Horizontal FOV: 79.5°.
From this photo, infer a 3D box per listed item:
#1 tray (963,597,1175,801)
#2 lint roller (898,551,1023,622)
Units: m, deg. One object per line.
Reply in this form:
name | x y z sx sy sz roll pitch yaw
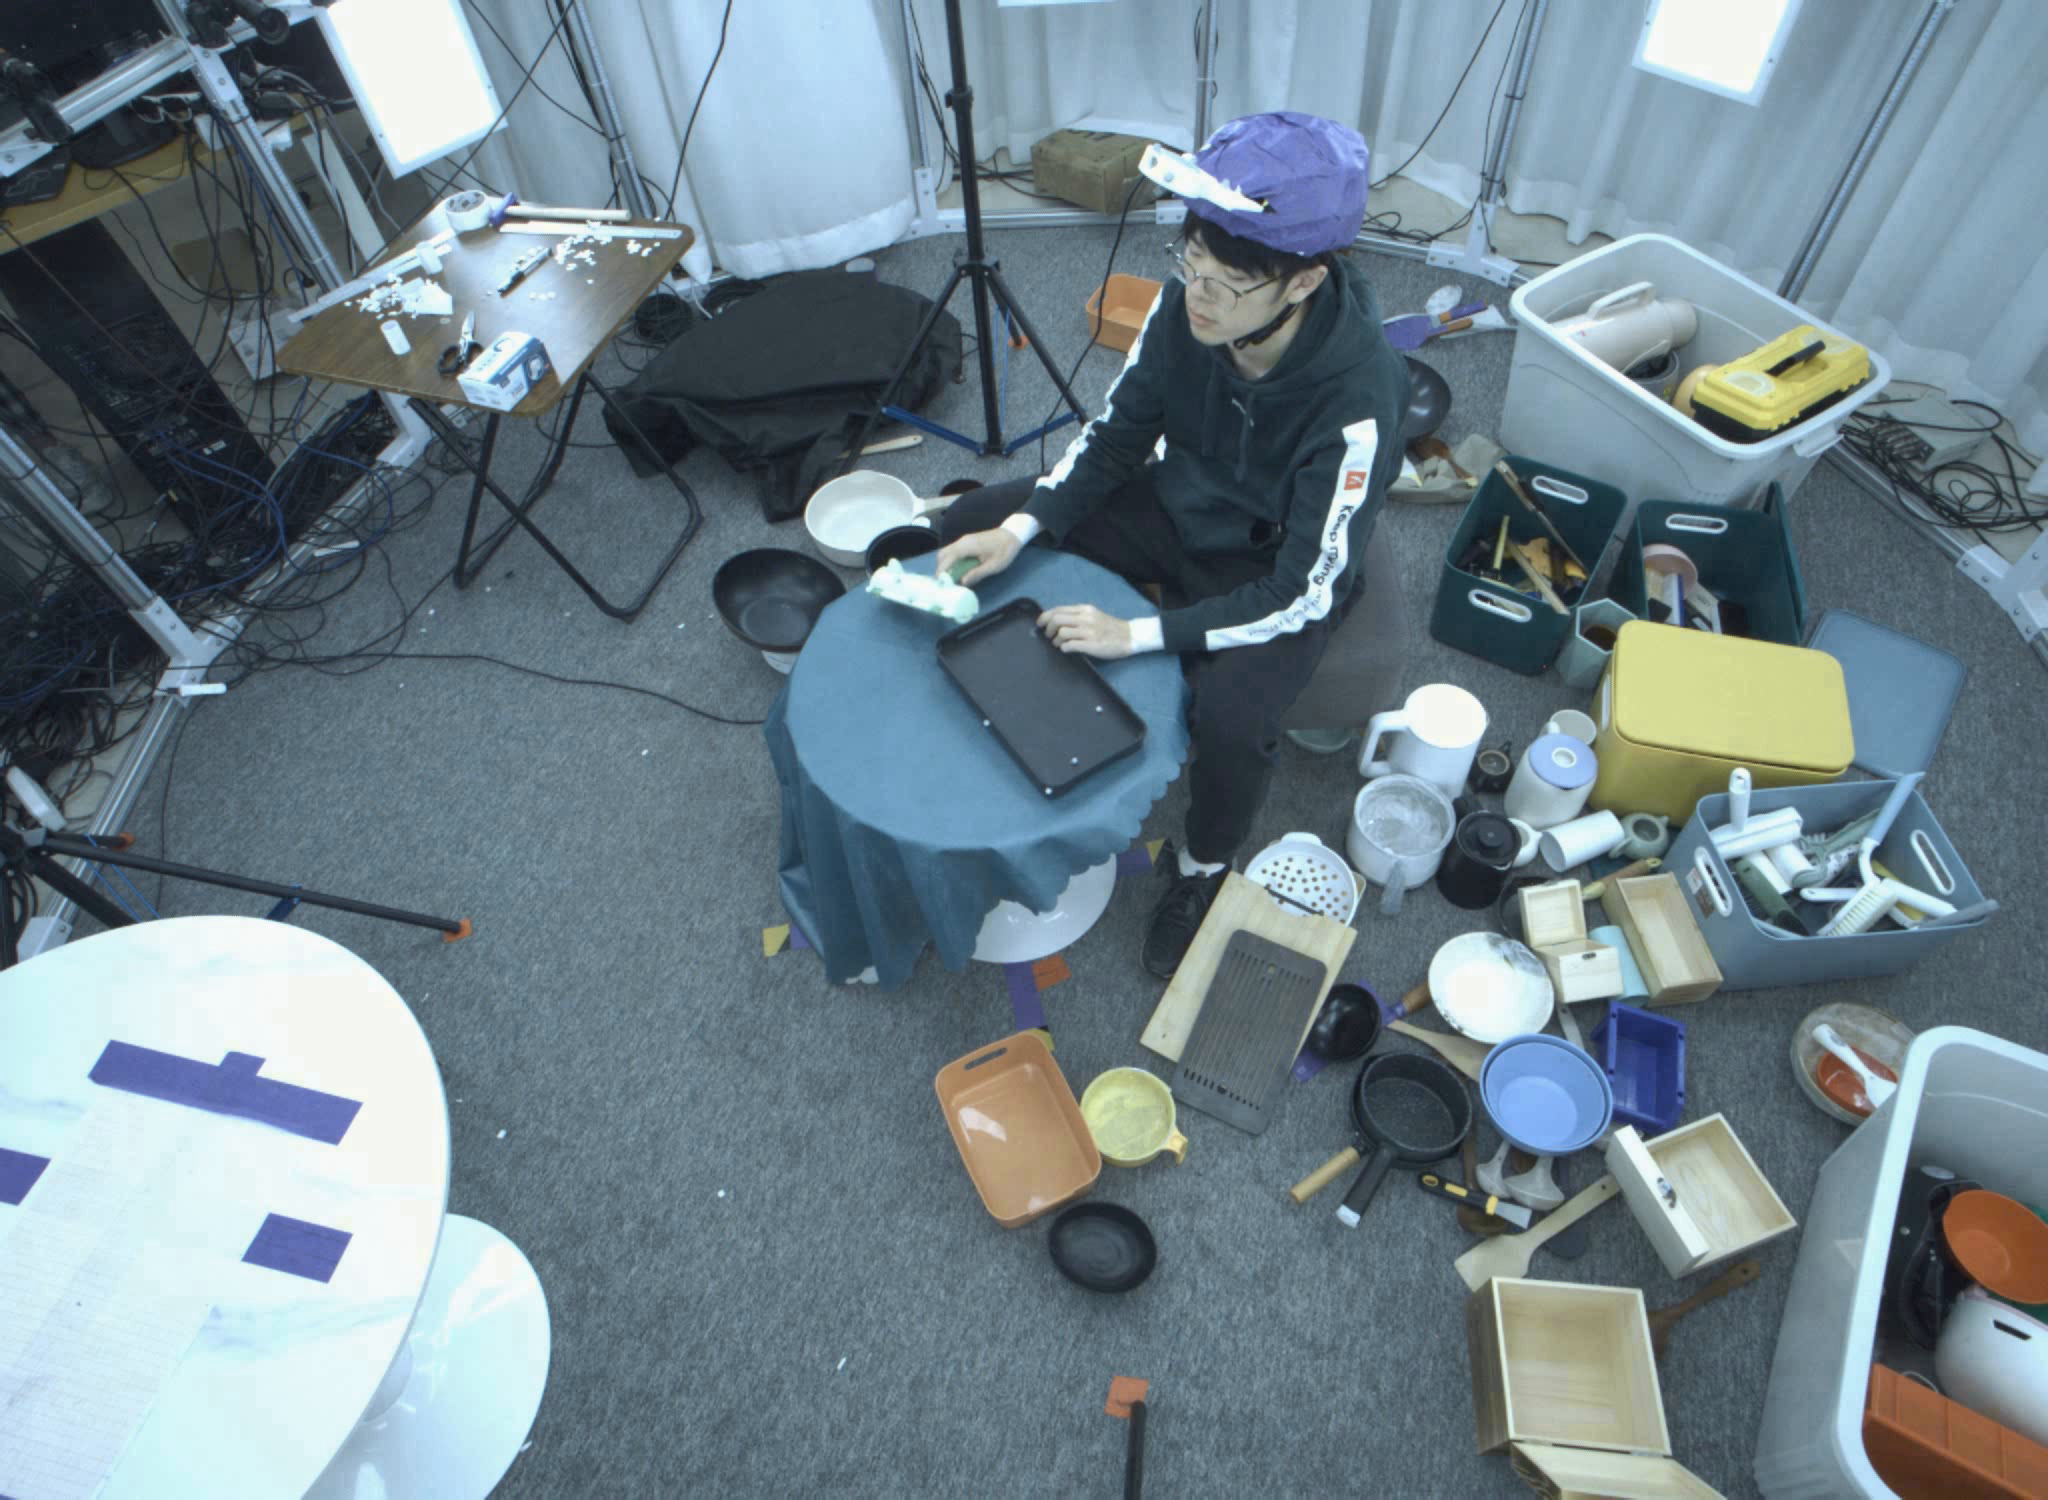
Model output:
tray | 0.062 -0.080 1.795 0.186 0.037 0.312 -27 63 -20
lint roller | -0.073 -0.279 1.900 0.194 0.083 0.184 22 55 38
